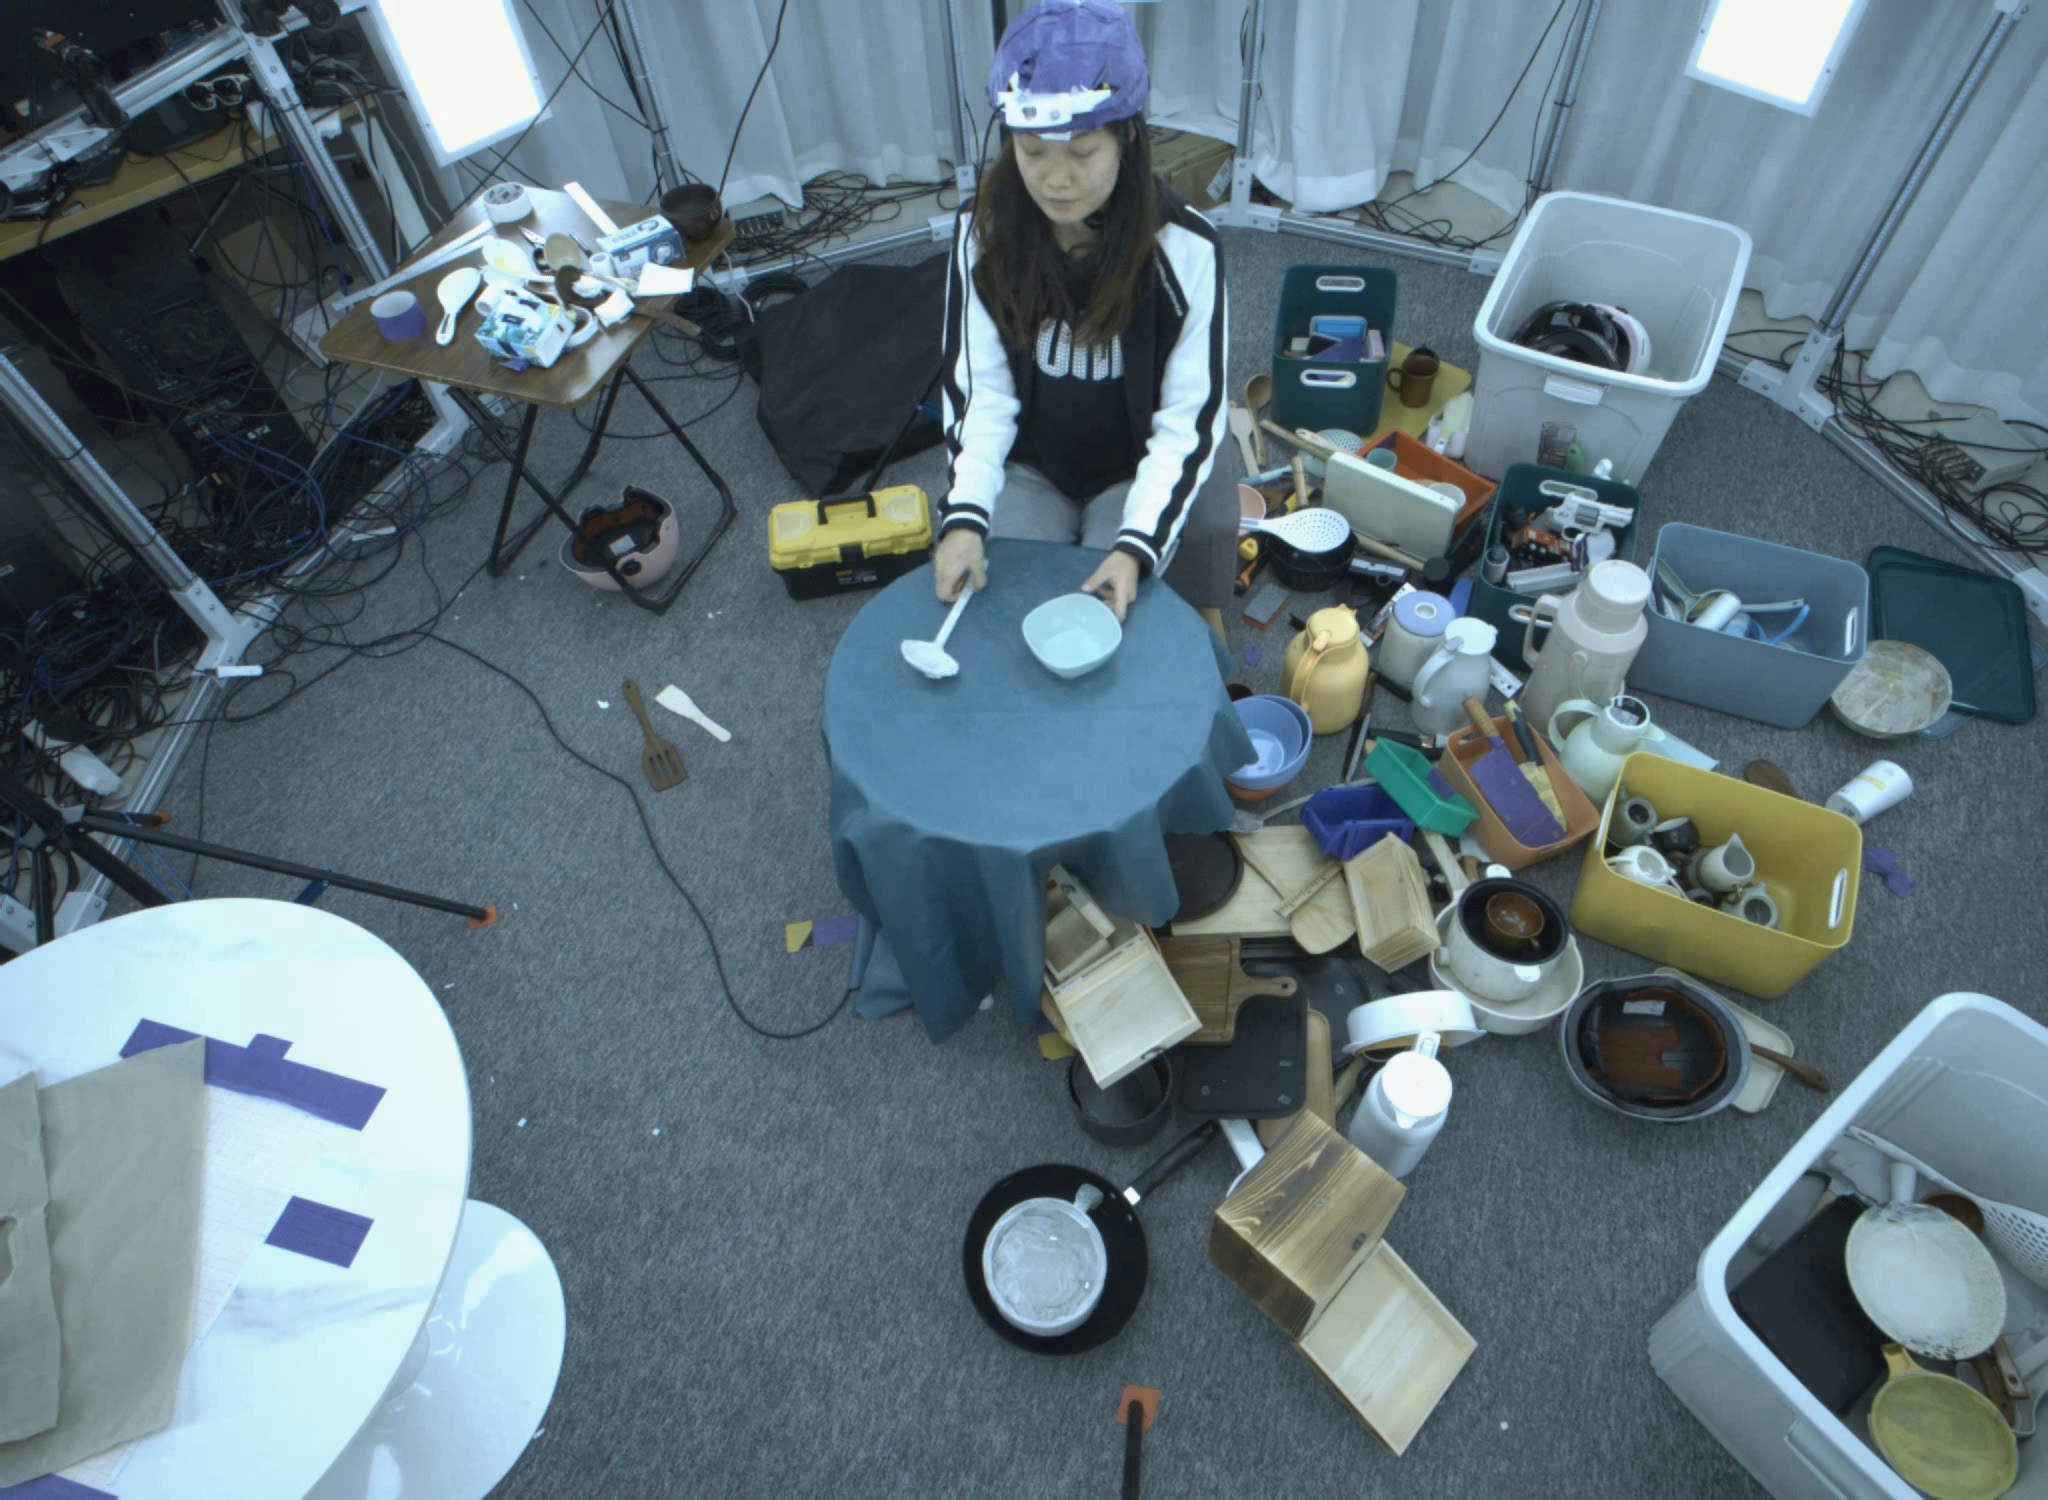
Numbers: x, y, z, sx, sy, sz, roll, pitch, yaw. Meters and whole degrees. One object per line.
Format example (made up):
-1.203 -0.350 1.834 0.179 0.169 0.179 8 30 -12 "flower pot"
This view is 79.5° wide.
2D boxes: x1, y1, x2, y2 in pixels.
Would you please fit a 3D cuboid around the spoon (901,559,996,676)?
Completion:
-0.099 -0.214 1.907 0.101 0.059 0.277 32 60 -3 "spoon"

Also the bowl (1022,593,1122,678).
0.073 -0.165 1.870 0.151 0.059 0.150 0 55 2 "bowl"
